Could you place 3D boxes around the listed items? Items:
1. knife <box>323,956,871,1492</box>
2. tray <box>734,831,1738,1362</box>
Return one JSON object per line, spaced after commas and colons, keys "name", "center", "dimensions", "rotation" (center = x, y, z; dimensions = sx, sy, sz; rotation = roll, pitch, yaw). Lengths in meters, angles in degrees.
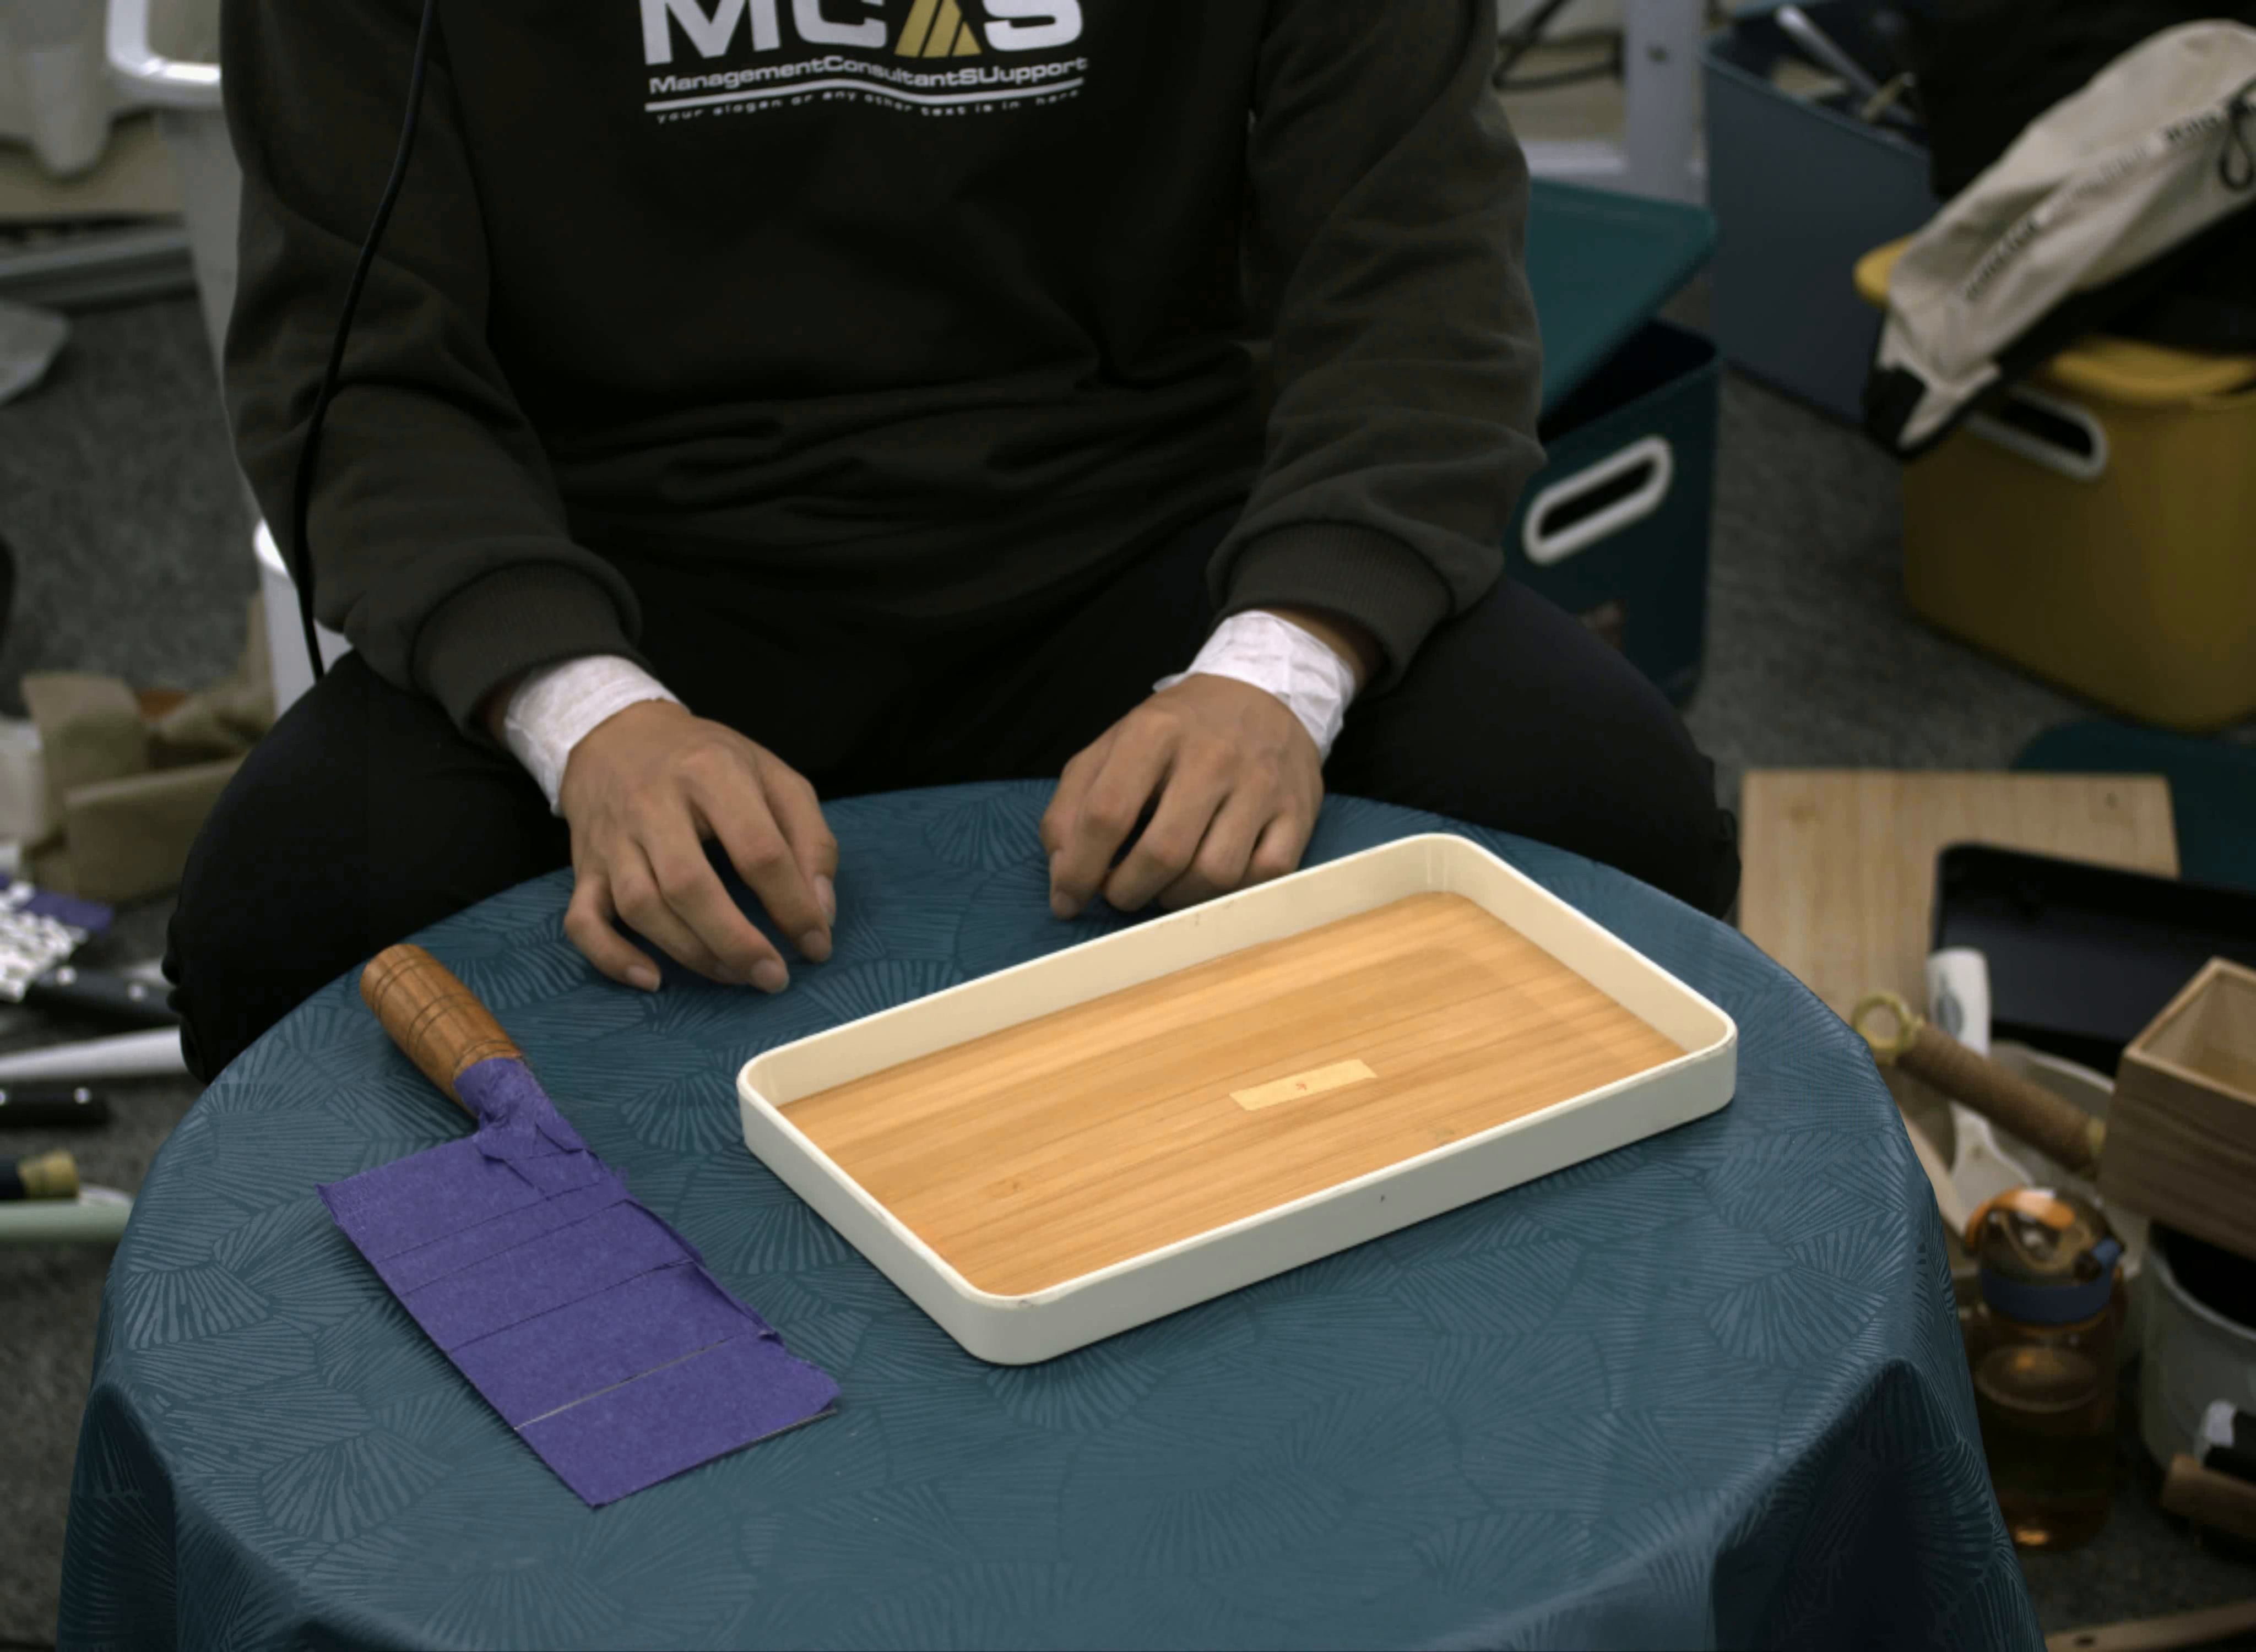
{"name": "knife", "center": [-0.205, 0.126, 1.842], "dimensions": [0.104, 0.032, 0.316], "rotation": [-18, 31, -27]}
{"name": "tray", "center": [0.037, 0.086, 1.897], "dimensions": [0.302, 0.027, 0.192], "rotation": [-18, 30, -27]}
